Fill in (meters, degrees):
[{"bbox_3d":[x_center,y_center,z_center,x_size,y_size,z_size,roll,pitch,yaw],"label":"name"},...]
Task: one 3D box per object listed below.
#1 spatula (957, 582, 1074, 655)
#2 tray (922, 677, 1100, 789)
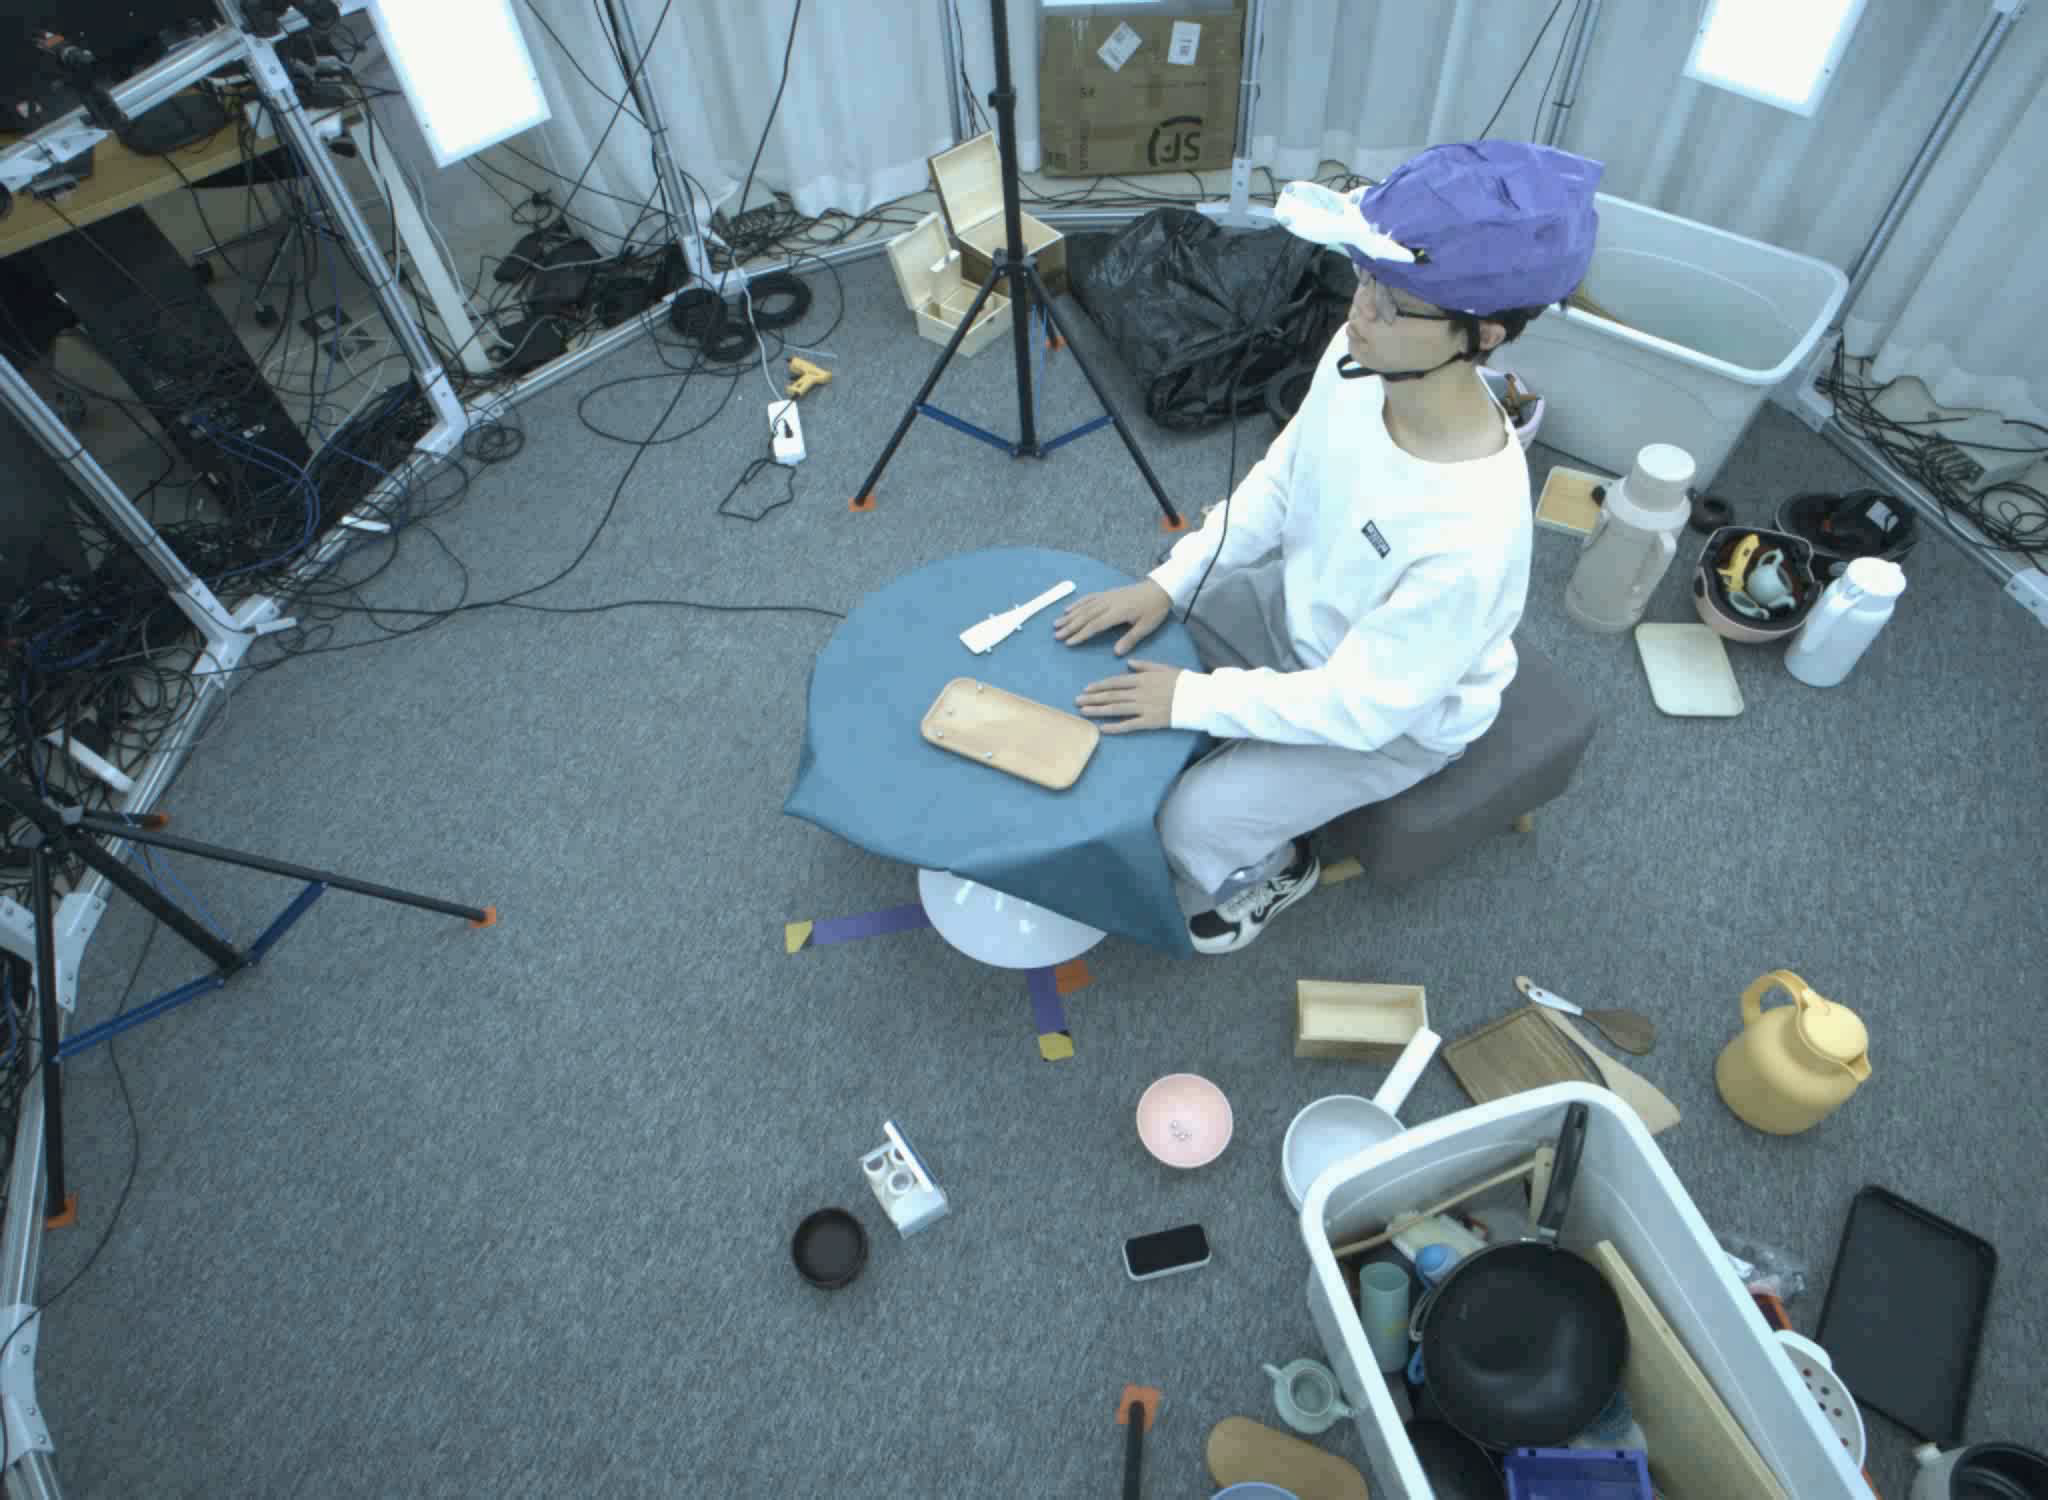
[{"bbox_3d":[-0.008,-0.212,1.932,0.209,0.005,0.049,-31,60,-18],"label":"spatula"},{"bbox_3d":[-0.019,-0.026,1.793,0.248,0.023,0.130,21,60,15],"label":"tray"}]
